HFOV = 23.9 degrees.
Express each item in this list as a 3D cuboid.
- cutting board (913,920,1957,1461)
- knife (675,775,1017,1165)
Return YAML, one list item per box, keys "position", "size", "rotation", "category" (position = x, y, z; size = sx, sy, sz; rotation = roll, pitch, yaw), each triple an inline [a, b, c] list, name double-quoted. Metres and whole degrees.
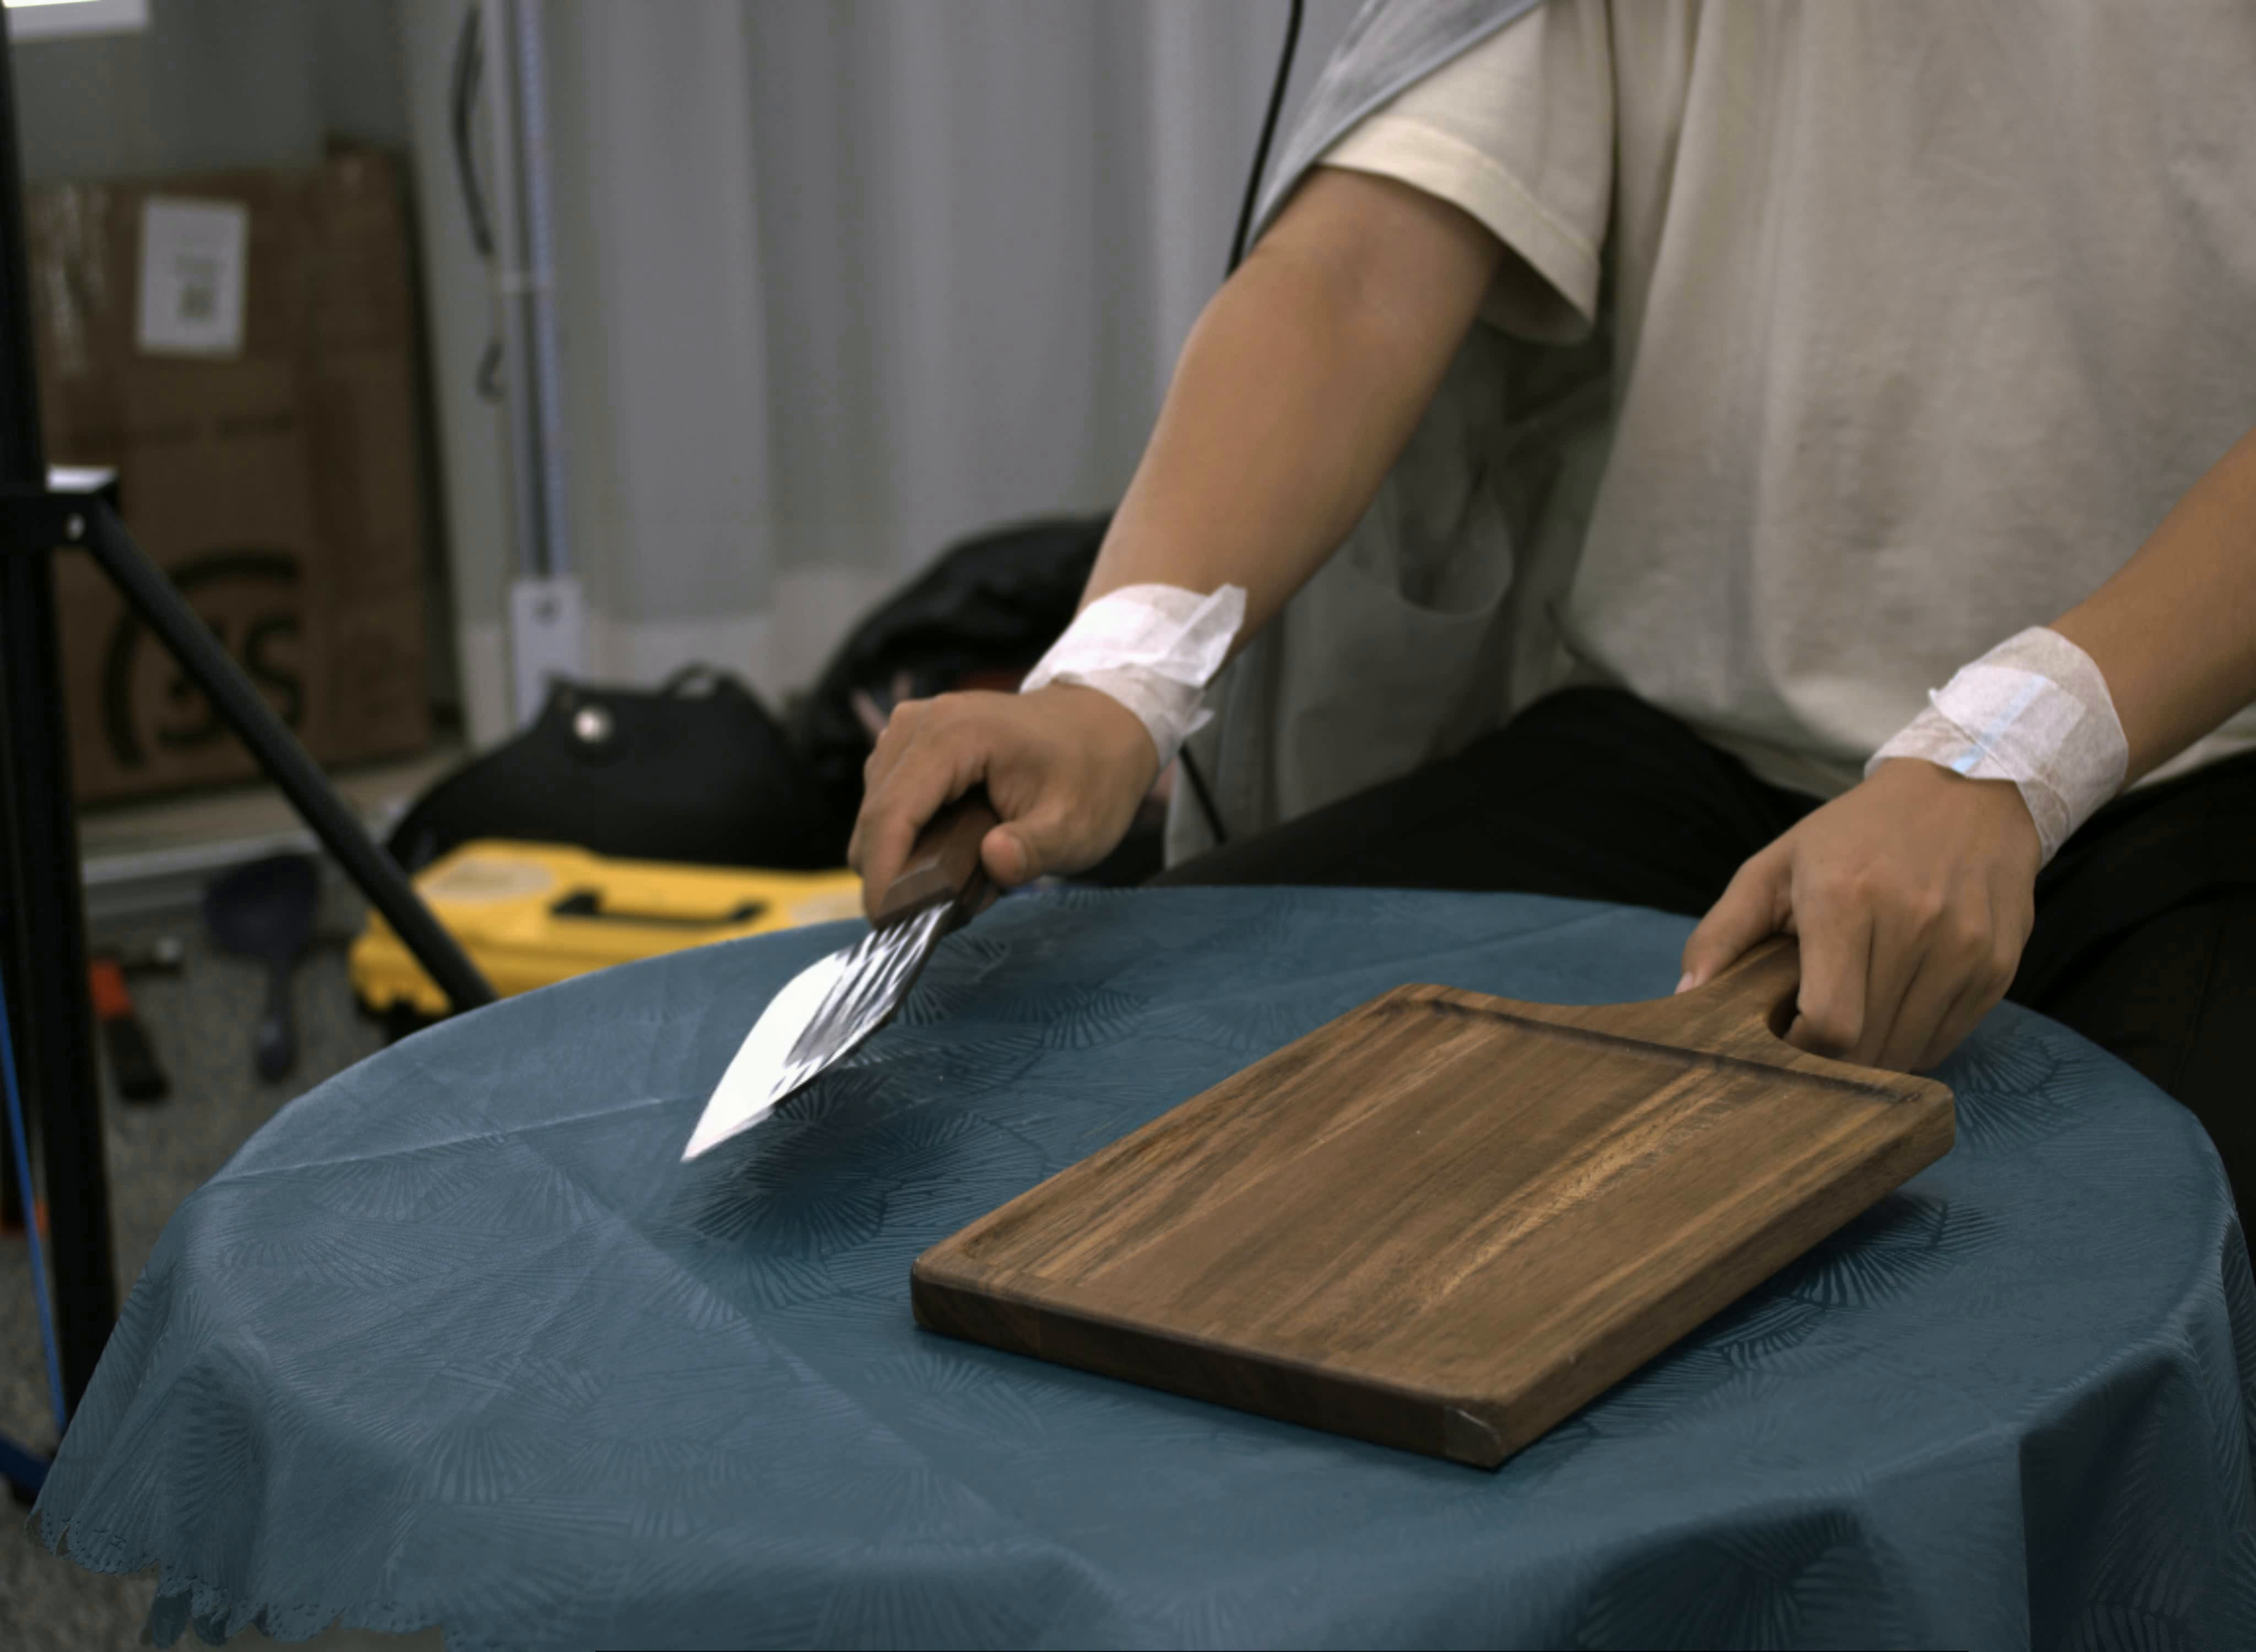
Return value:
- position: [0.119, 0.090, 1.519]
  size: [0.205, 0.023, 0.345]
  rotation: [9, 23, 37]
  category: "cutting board"
- position: [-0.086, 0.044, 1.663]
  size: [0.068, 0.024, 0.298]
  rotation: [-27, 11, 17]
  category: "knife"
